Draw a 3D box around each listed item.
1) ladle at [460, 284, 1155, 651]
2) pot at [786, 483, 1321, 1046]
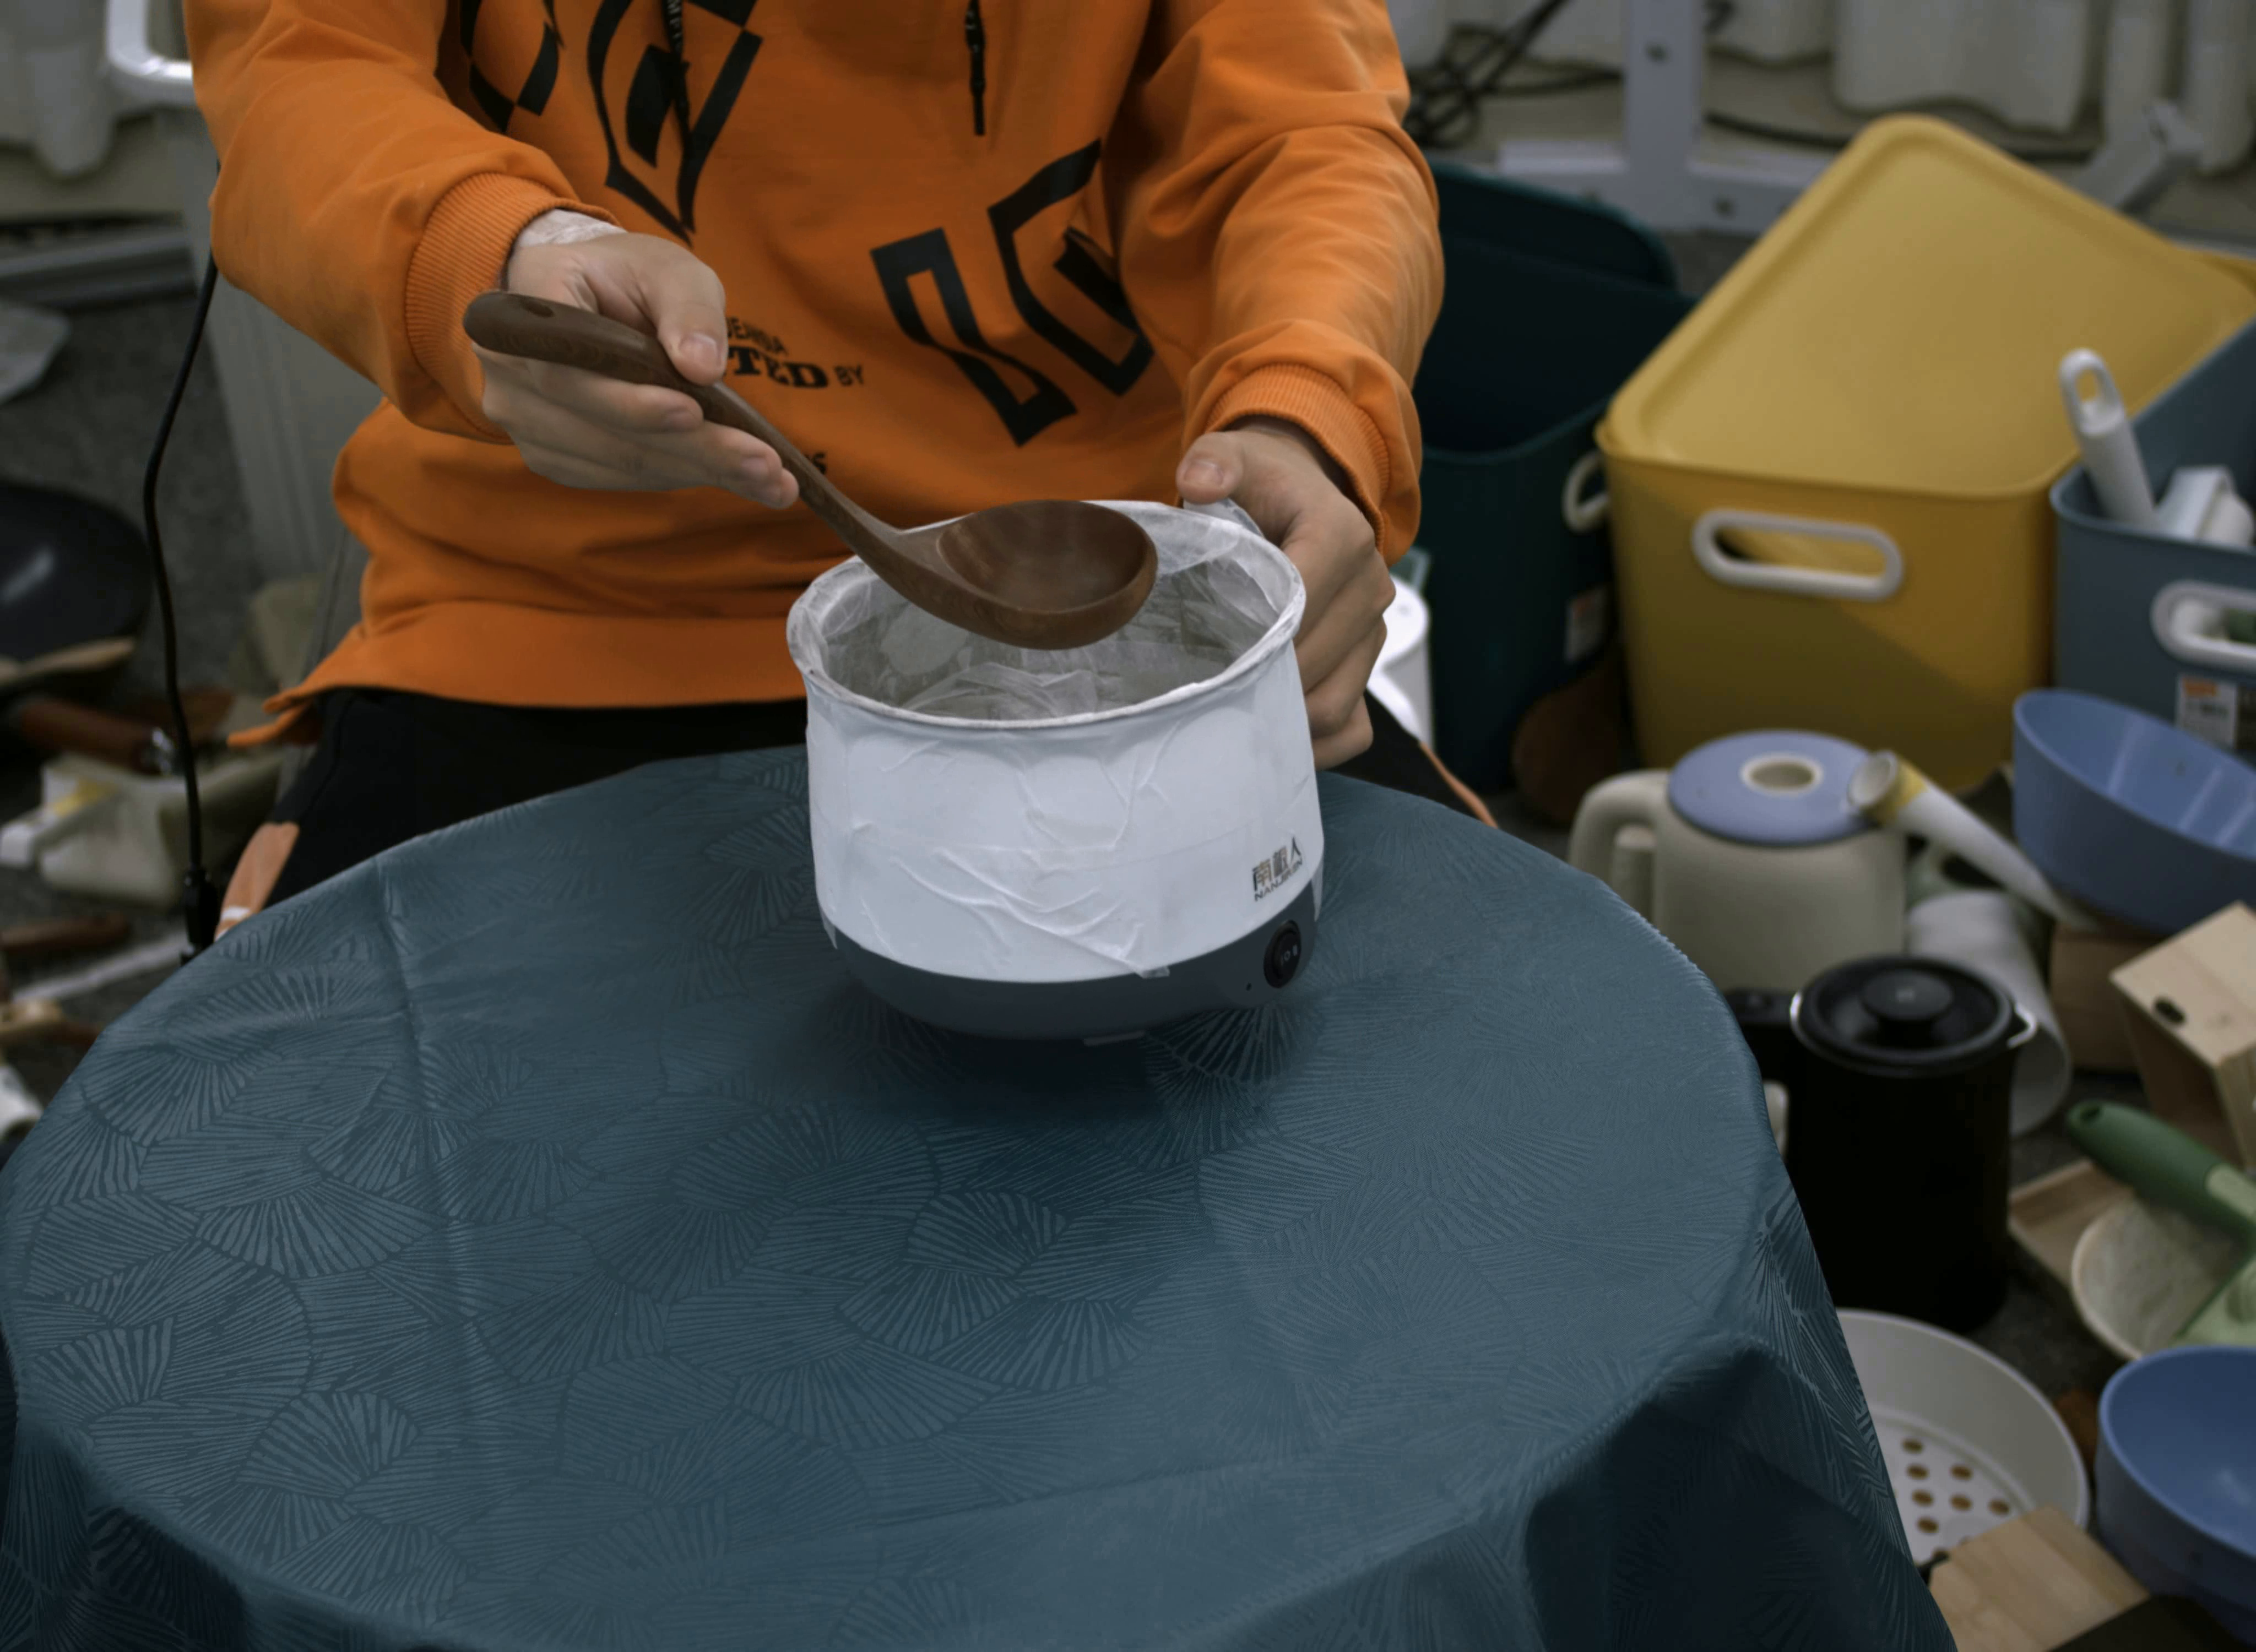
[{"bbox_3d":[-0.101,-0.128,1.848,0.259,0.065,0.077,32,11,-31],"label":"ladle"},{"bbox_3d":[-0.009,-0.030,1.949,0.177,0.135,0.237,12,31,29],"label":"pot"}]
